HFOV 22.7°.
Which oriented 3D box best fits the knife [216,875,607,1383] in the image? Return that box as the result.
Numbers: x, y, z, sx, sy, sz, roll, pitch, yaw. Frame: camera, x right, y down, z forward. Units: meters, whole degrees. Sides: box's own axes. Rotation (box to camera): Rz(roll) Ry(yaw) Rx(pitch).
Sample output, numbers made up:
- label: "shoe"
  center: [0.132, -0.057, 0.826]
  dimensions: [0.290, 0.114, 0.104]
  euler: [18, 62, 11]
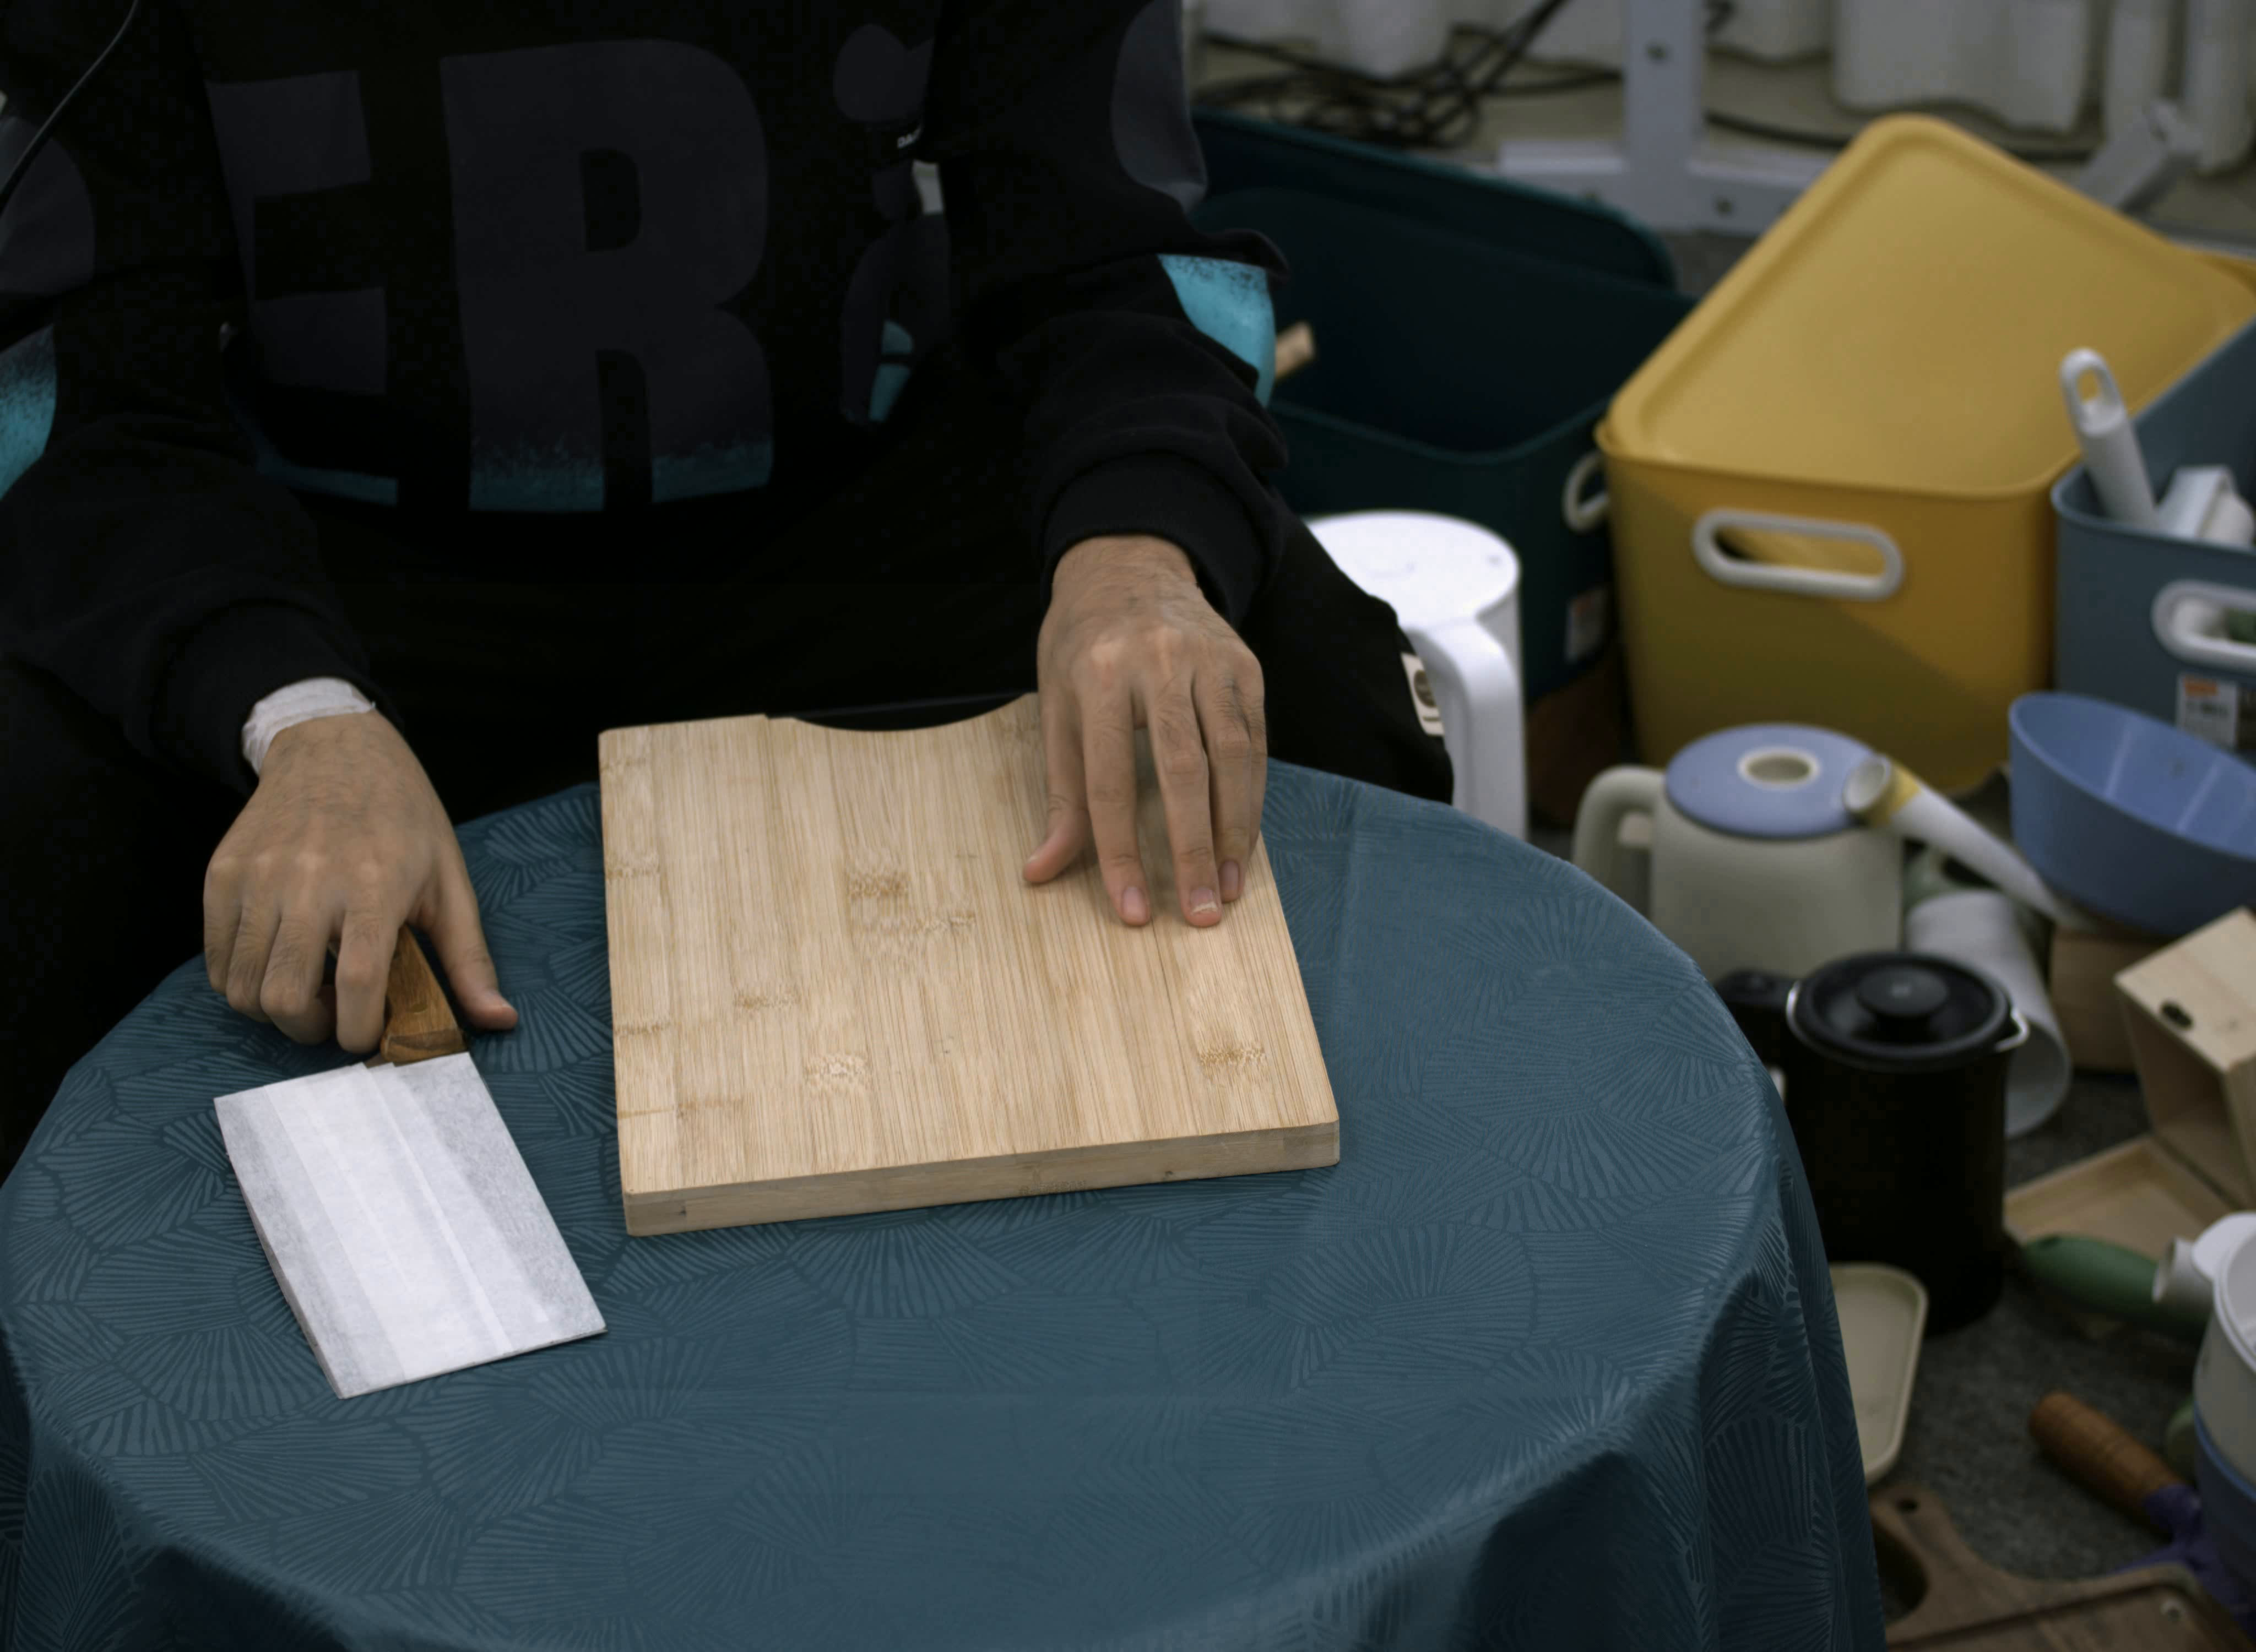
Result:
- label: "knife"
  center: [-0.258, 0.102, 1.909]
  dimensions: [0.093, 0.021, 0.308]
  euler: [-13, 31, -16]

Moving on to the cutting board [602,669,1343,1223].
- label: "cutting board"
  center: [-0.065, 0.038, 2.012]
  dimensions: [0.250, 0.023, 0.353]
  euler: [-5, 28, -5]
